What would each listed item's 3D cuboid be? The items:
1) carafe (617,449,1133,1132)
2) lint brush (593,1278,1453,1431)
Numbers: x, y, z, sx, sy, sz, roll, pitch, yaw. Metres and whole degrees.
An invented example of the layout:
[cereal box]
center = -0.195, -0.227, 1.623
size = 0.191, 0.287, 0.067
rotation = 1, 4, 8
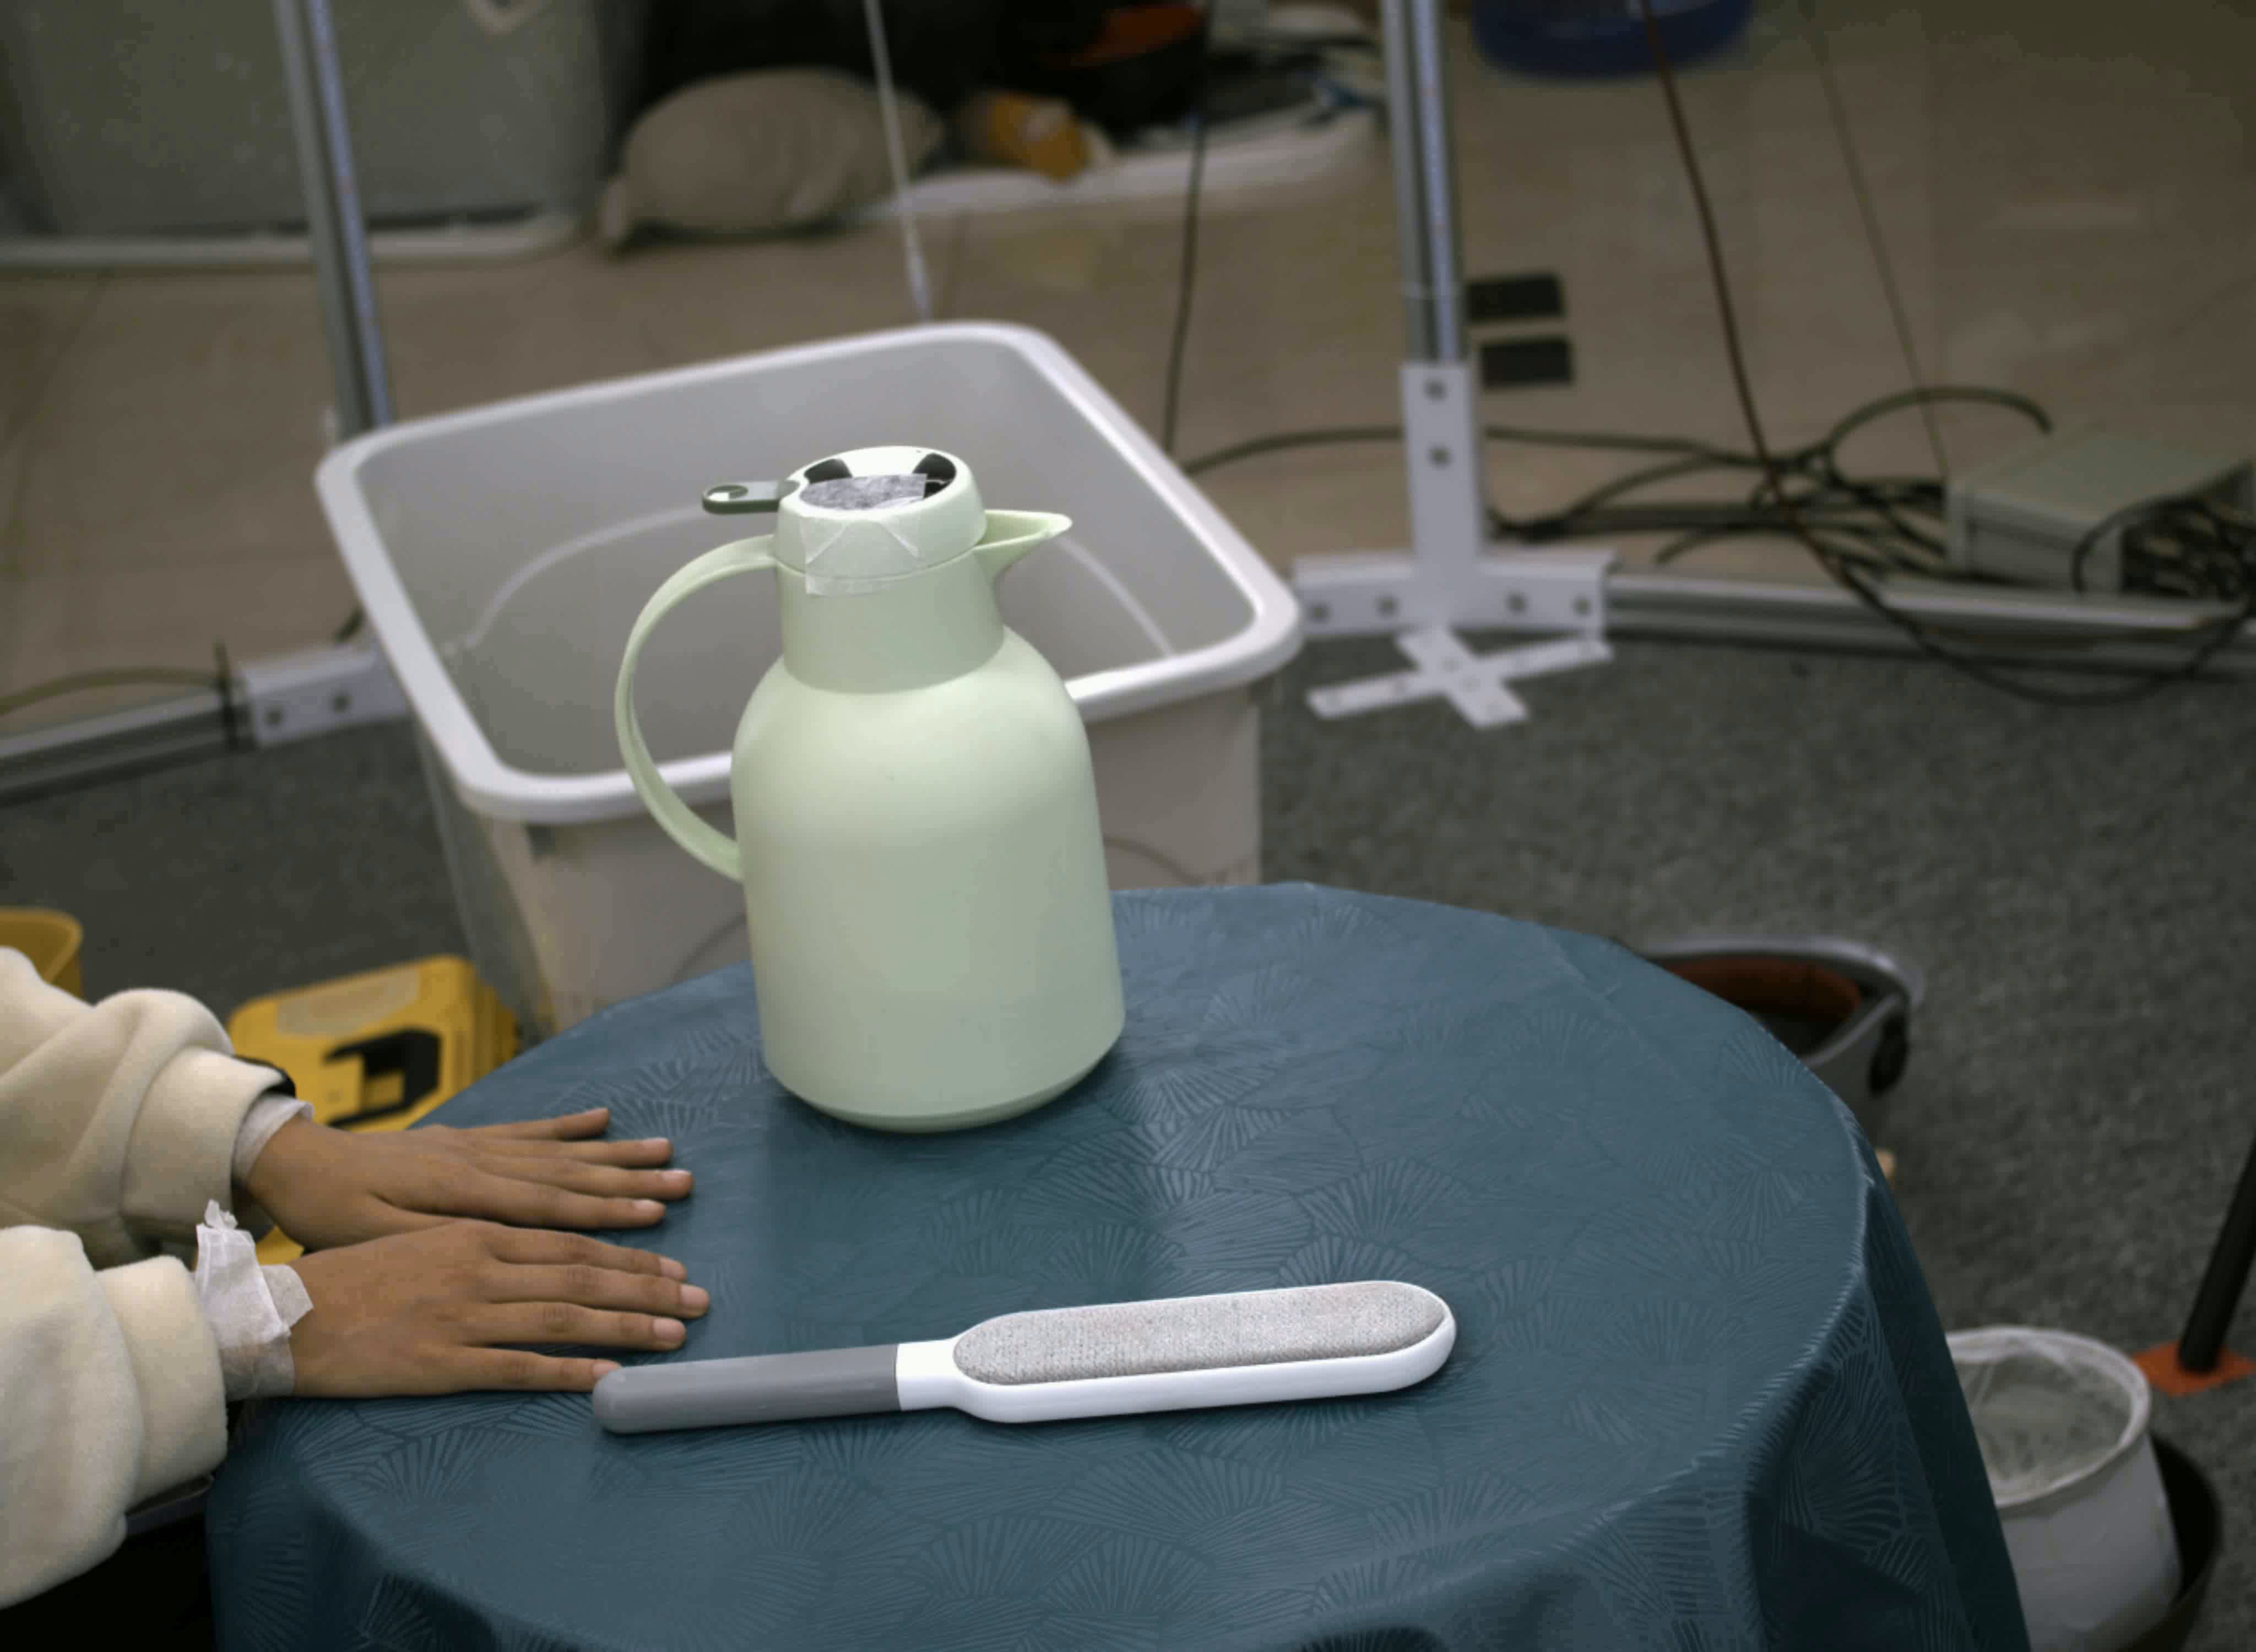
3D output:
[carafe]
center = -0.098, -0.017, 2.208
size = 0.186, 0.261, 0.142
rotation = -8, 27, 6
[lint brush]
center = -0.038, 0.191, 2.019
size = 0.308, 0.021, 0.059
rotation = -5, 27, 4
